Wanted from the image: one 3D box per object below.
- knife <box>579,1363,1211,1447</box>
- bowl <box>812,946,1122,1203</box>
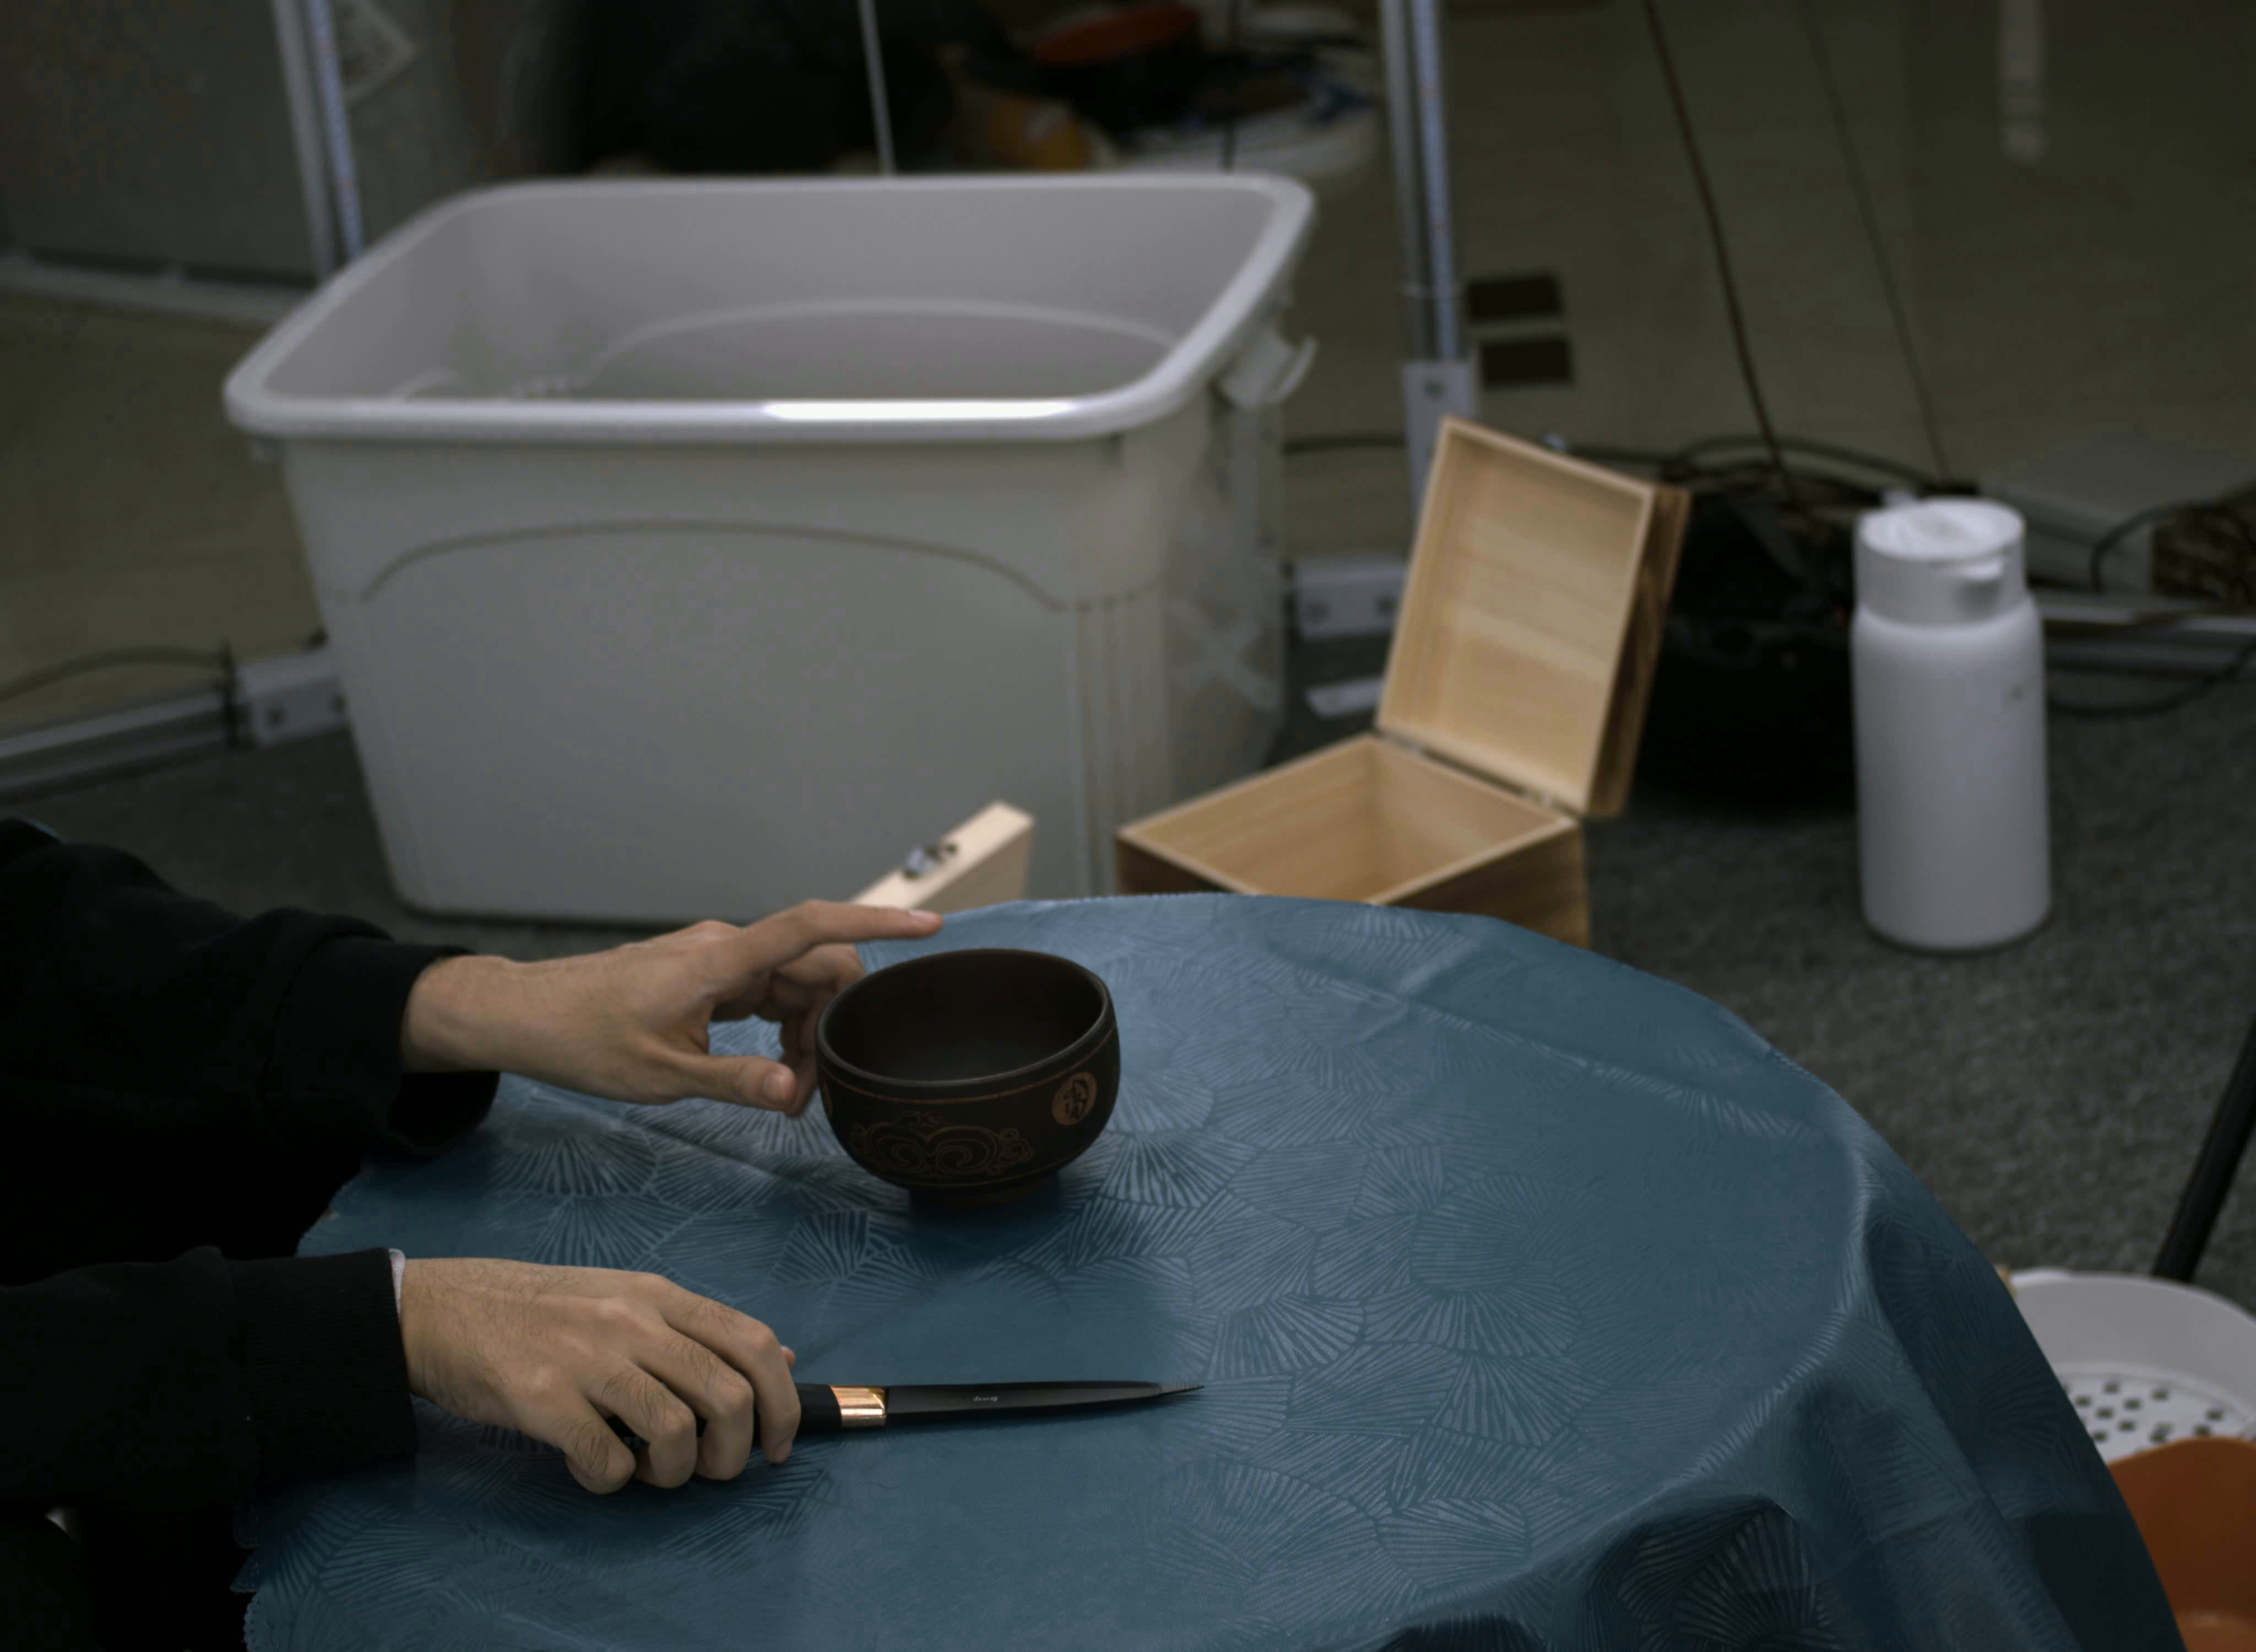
[{"bbox_3d":[-0.083,0.204,2.015,0.225,0.017,0.026,-5,19,2],"label":"knife"},{"bbox_3d":[-0.059,0.100,2.154,0.118,0.071,0.116,-6,23,3],"label":"bowl"}]
